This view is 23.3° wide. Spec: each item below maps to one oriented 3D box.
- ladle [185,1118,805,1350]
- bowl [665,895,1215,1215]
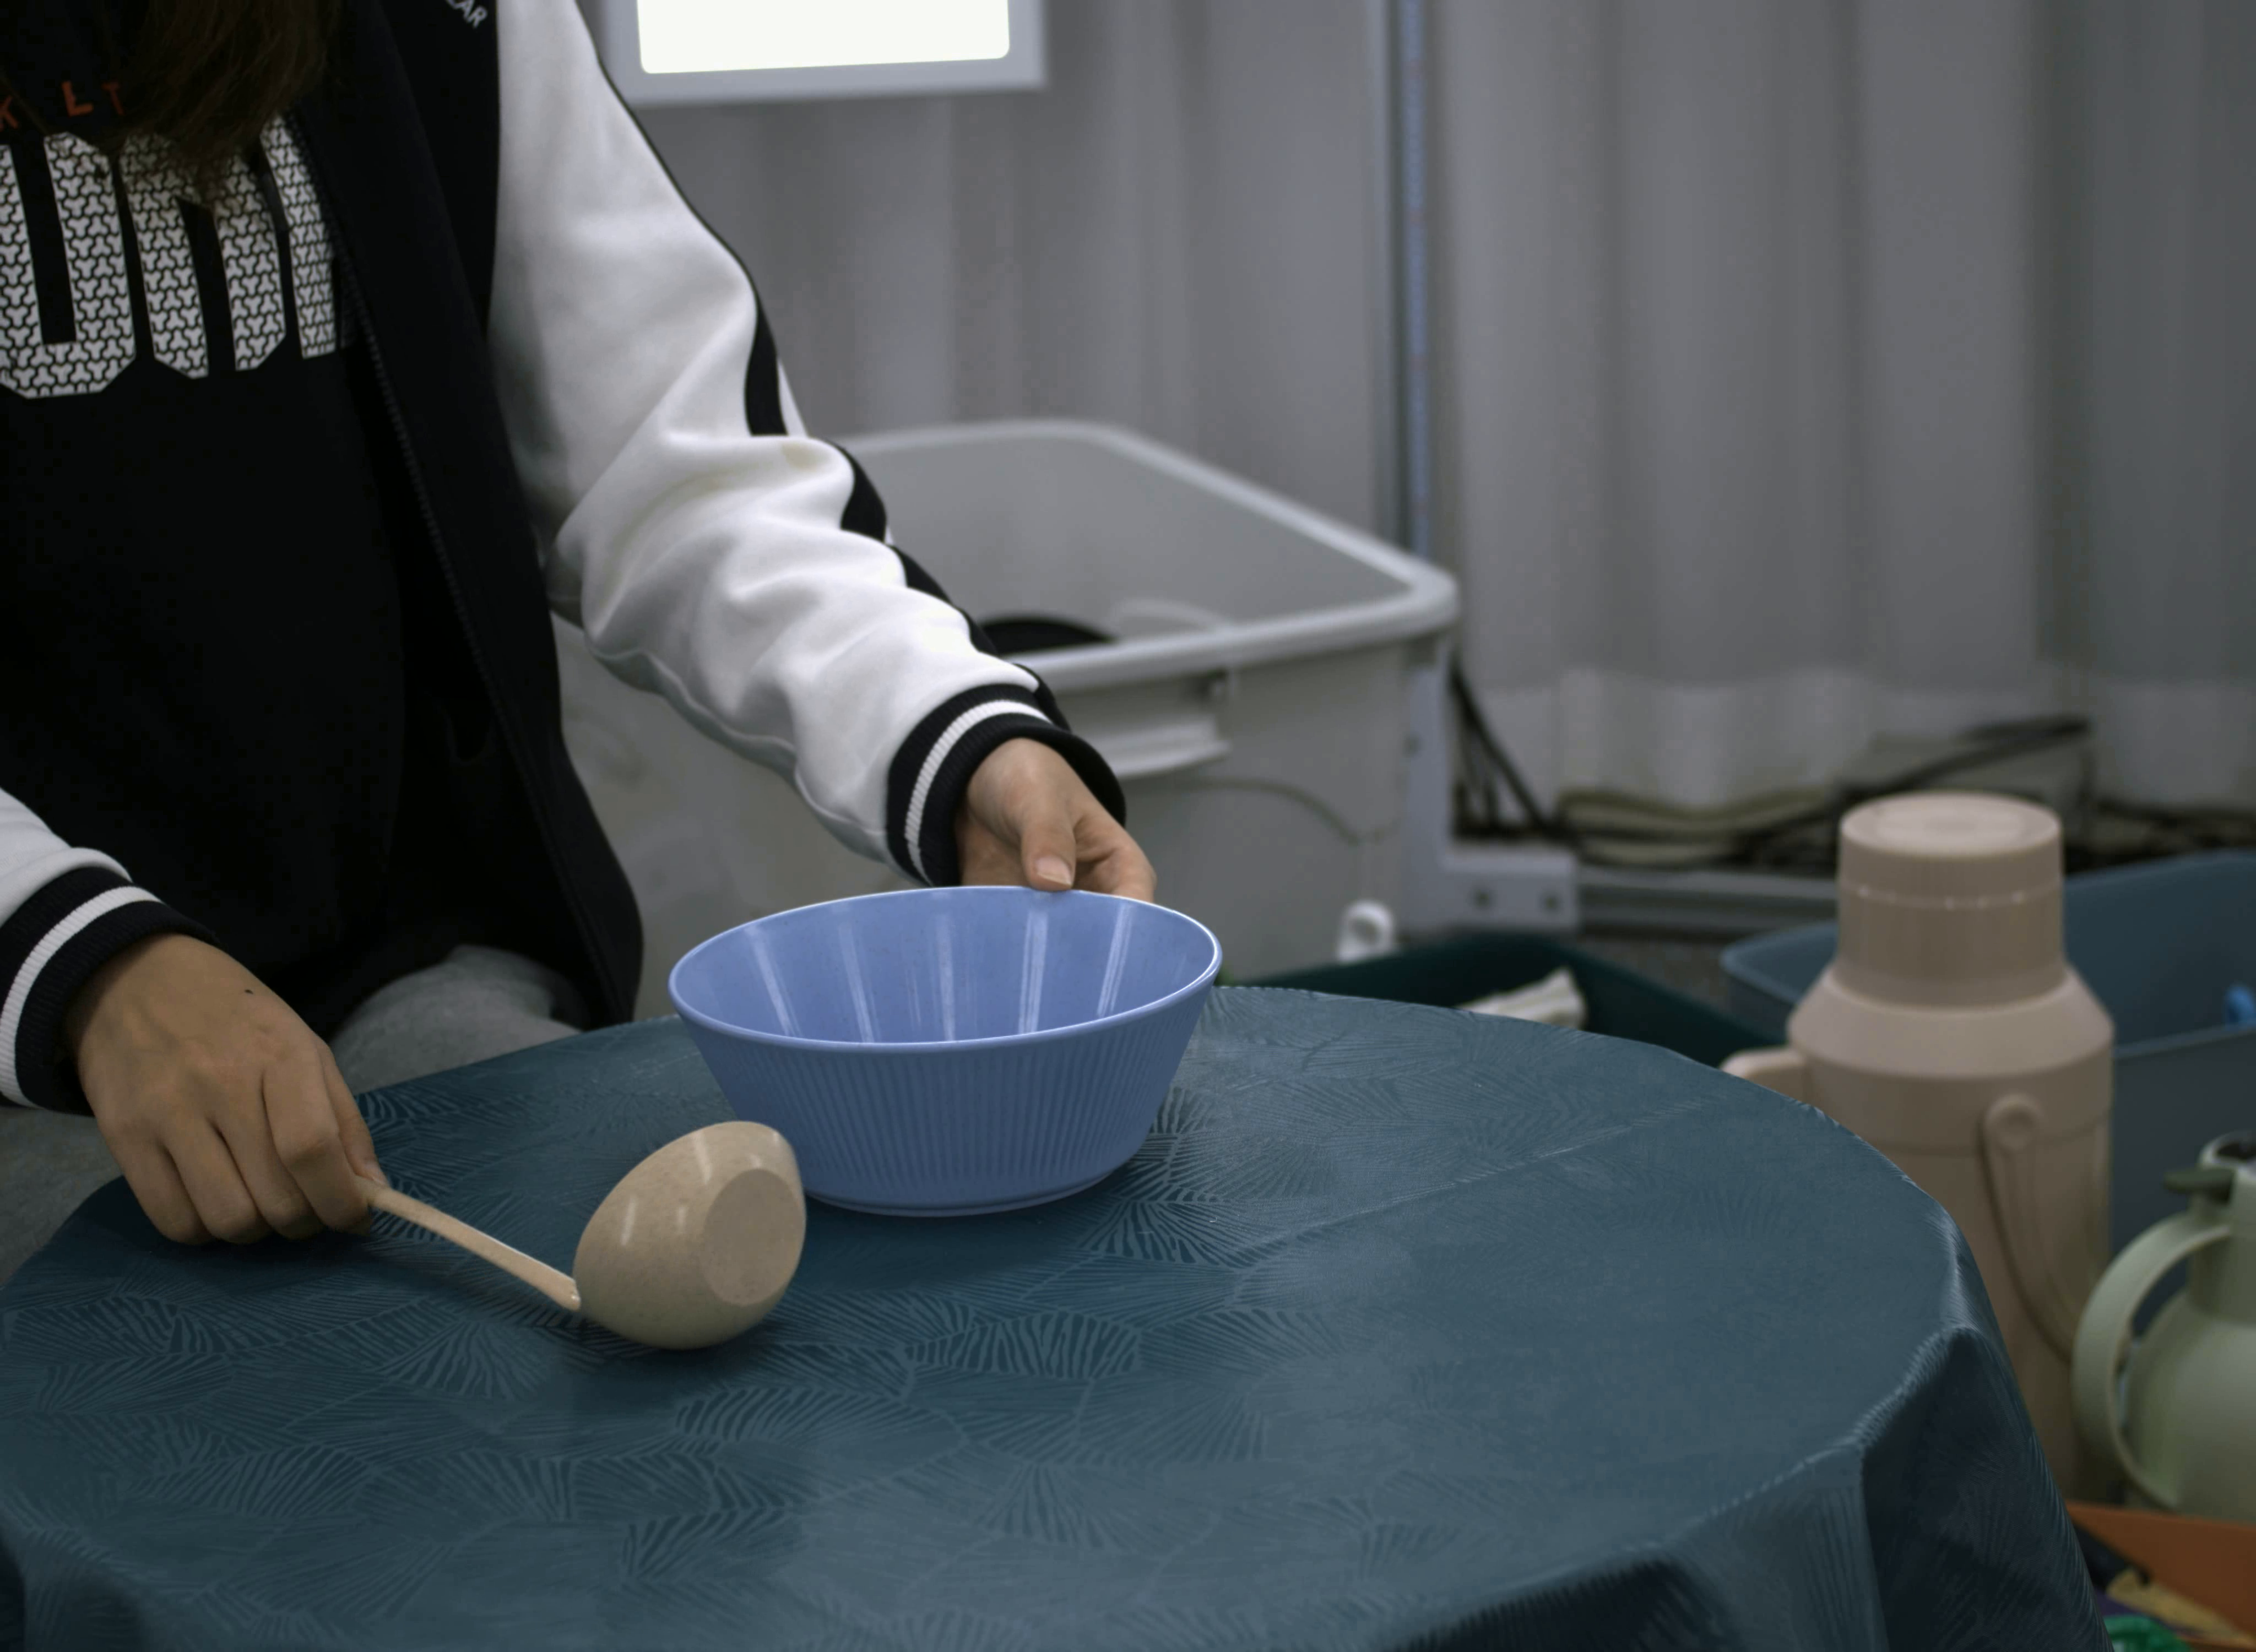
[{"bbox_3d":[-0.198,0.099,1.655,0.256,0.073,0.071,14,3,43],"label":"ladle"},{"bbox_3d":[-0.058,0.075,1.740,0.175,0.070,0.177,-2,14,0],"label":"bowl"}]
